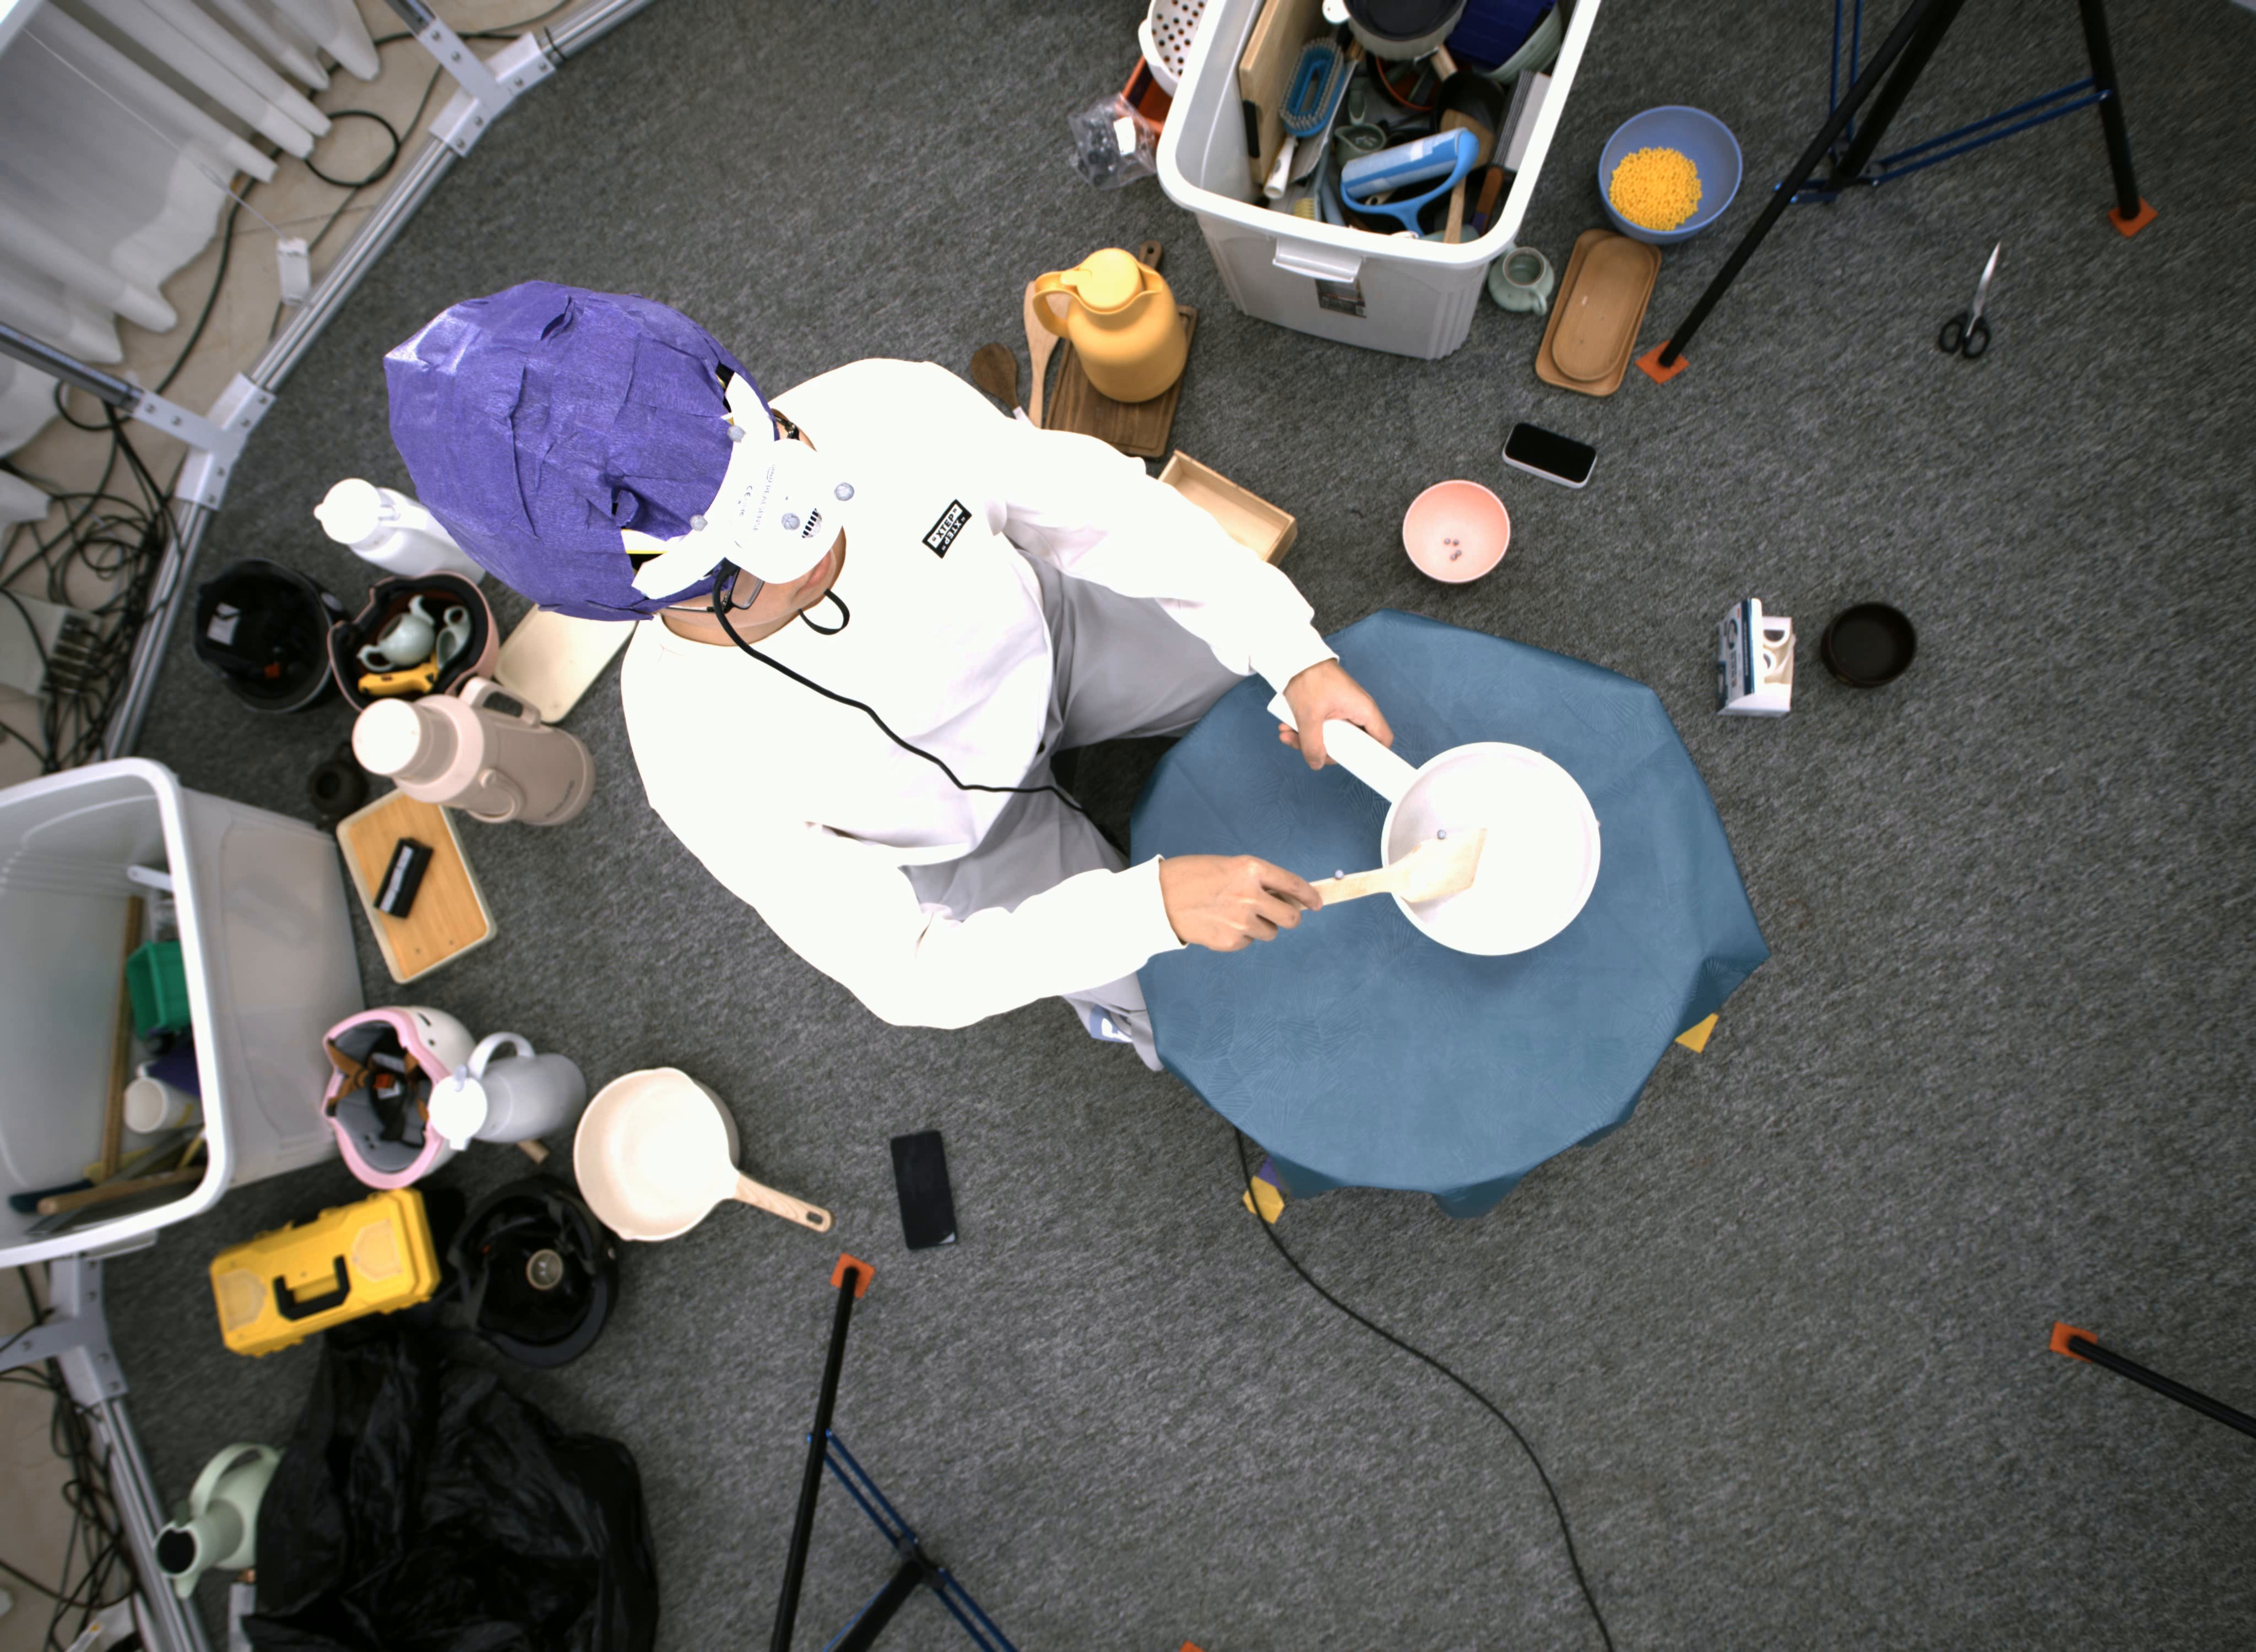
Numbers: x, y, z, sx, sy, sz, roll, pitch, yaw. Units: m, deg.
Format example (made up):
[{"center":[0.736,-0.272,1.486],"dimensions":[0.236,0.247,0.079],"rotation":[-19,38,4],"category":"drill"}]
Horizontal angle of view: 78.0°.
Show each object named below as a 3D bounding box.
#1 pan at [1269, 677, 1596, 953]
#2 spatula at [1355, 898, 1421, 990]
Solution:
[{"center":[0.295,-0.025,1.367],"dimensions":[0.353,0.101,0.203],"rotation":[38,100,14],"category":"pan"},{"center":[0.420,0.091,1.986],"dimensions":[0.072,0.010,0.293],"rotation":[28,92,13],"category":"spatula"}]
